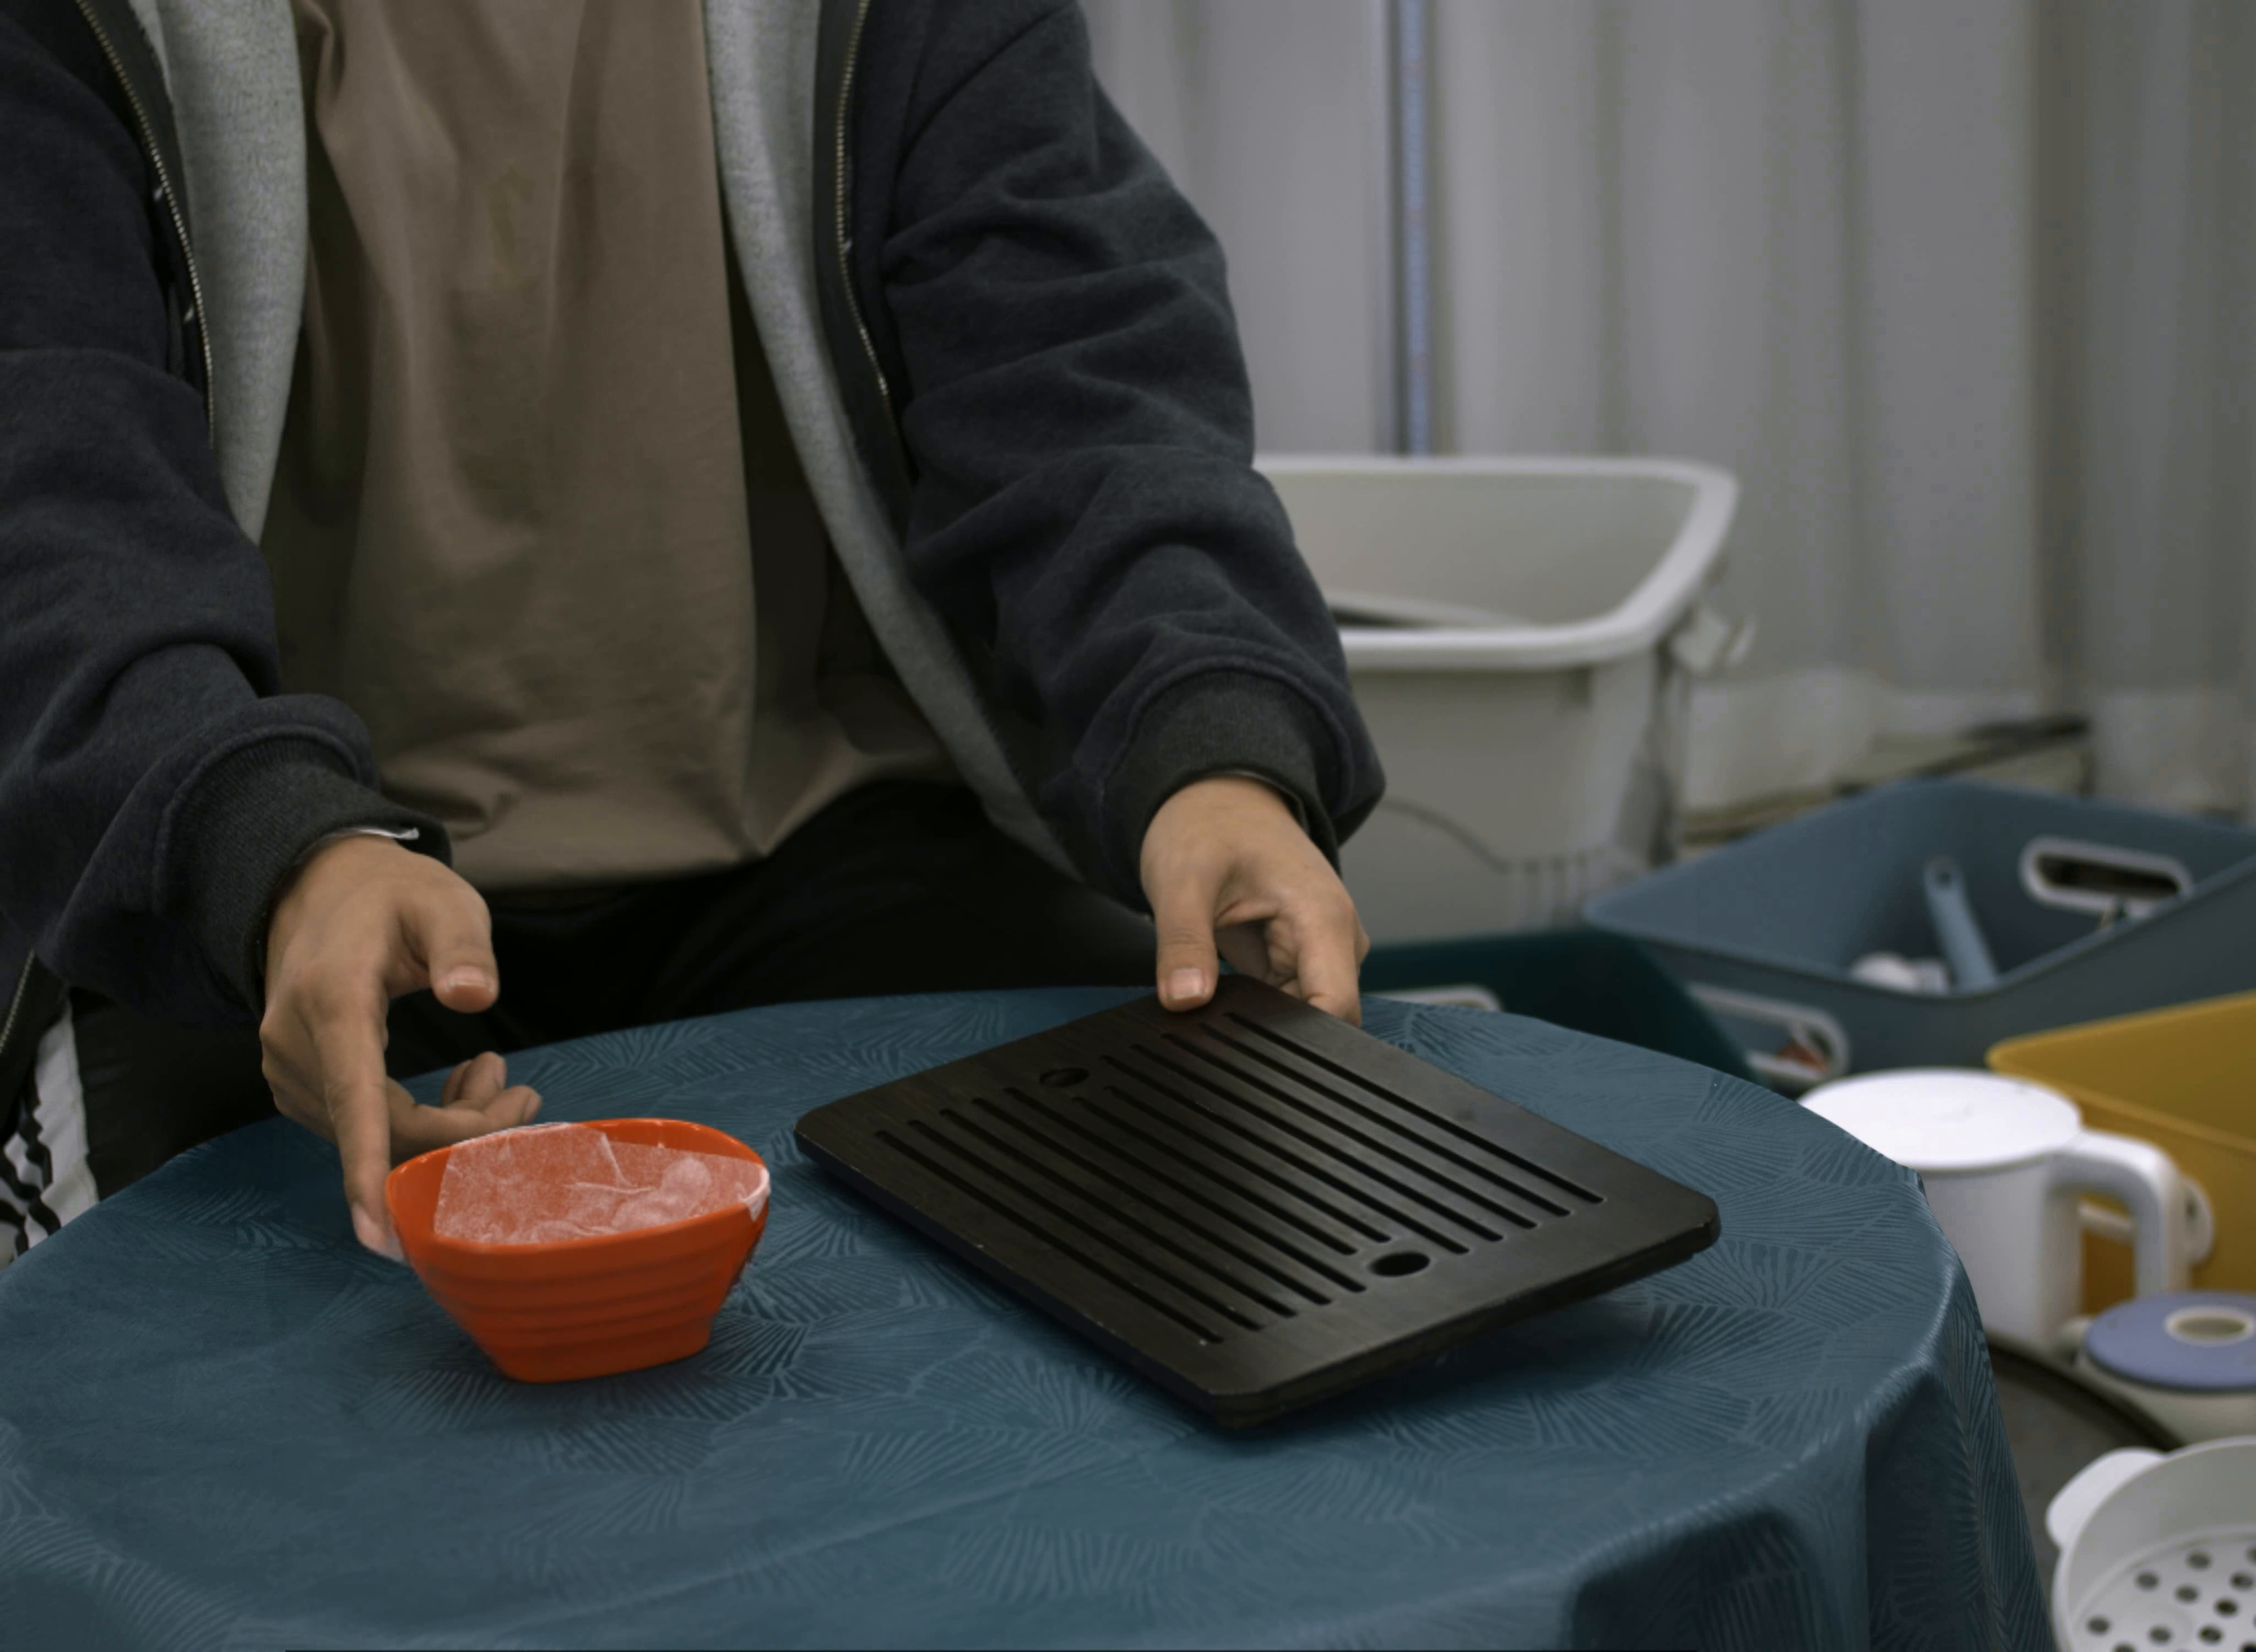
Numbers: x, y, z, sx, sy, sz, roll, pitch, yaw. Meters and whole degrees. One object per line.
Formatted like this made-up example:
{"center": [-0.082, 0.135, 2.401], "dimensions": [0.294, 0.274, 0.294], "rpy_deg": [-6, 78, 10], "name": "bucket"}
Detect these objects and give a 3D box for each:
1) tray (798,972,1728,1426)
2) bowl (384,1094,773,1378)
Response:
{"center": [0.034, 0.109, 1.659], "dimensions": [0.170, 0.018, 0.308], "rpy_deg": [-18, 19, -23], "name": "tray"}
{"center": [-0.160, 0.123, 1.604], "dimensions": [0.118, 0.051, 0.120], "rpy_deg": [-3, 19, 1], "name": "bowl"}
